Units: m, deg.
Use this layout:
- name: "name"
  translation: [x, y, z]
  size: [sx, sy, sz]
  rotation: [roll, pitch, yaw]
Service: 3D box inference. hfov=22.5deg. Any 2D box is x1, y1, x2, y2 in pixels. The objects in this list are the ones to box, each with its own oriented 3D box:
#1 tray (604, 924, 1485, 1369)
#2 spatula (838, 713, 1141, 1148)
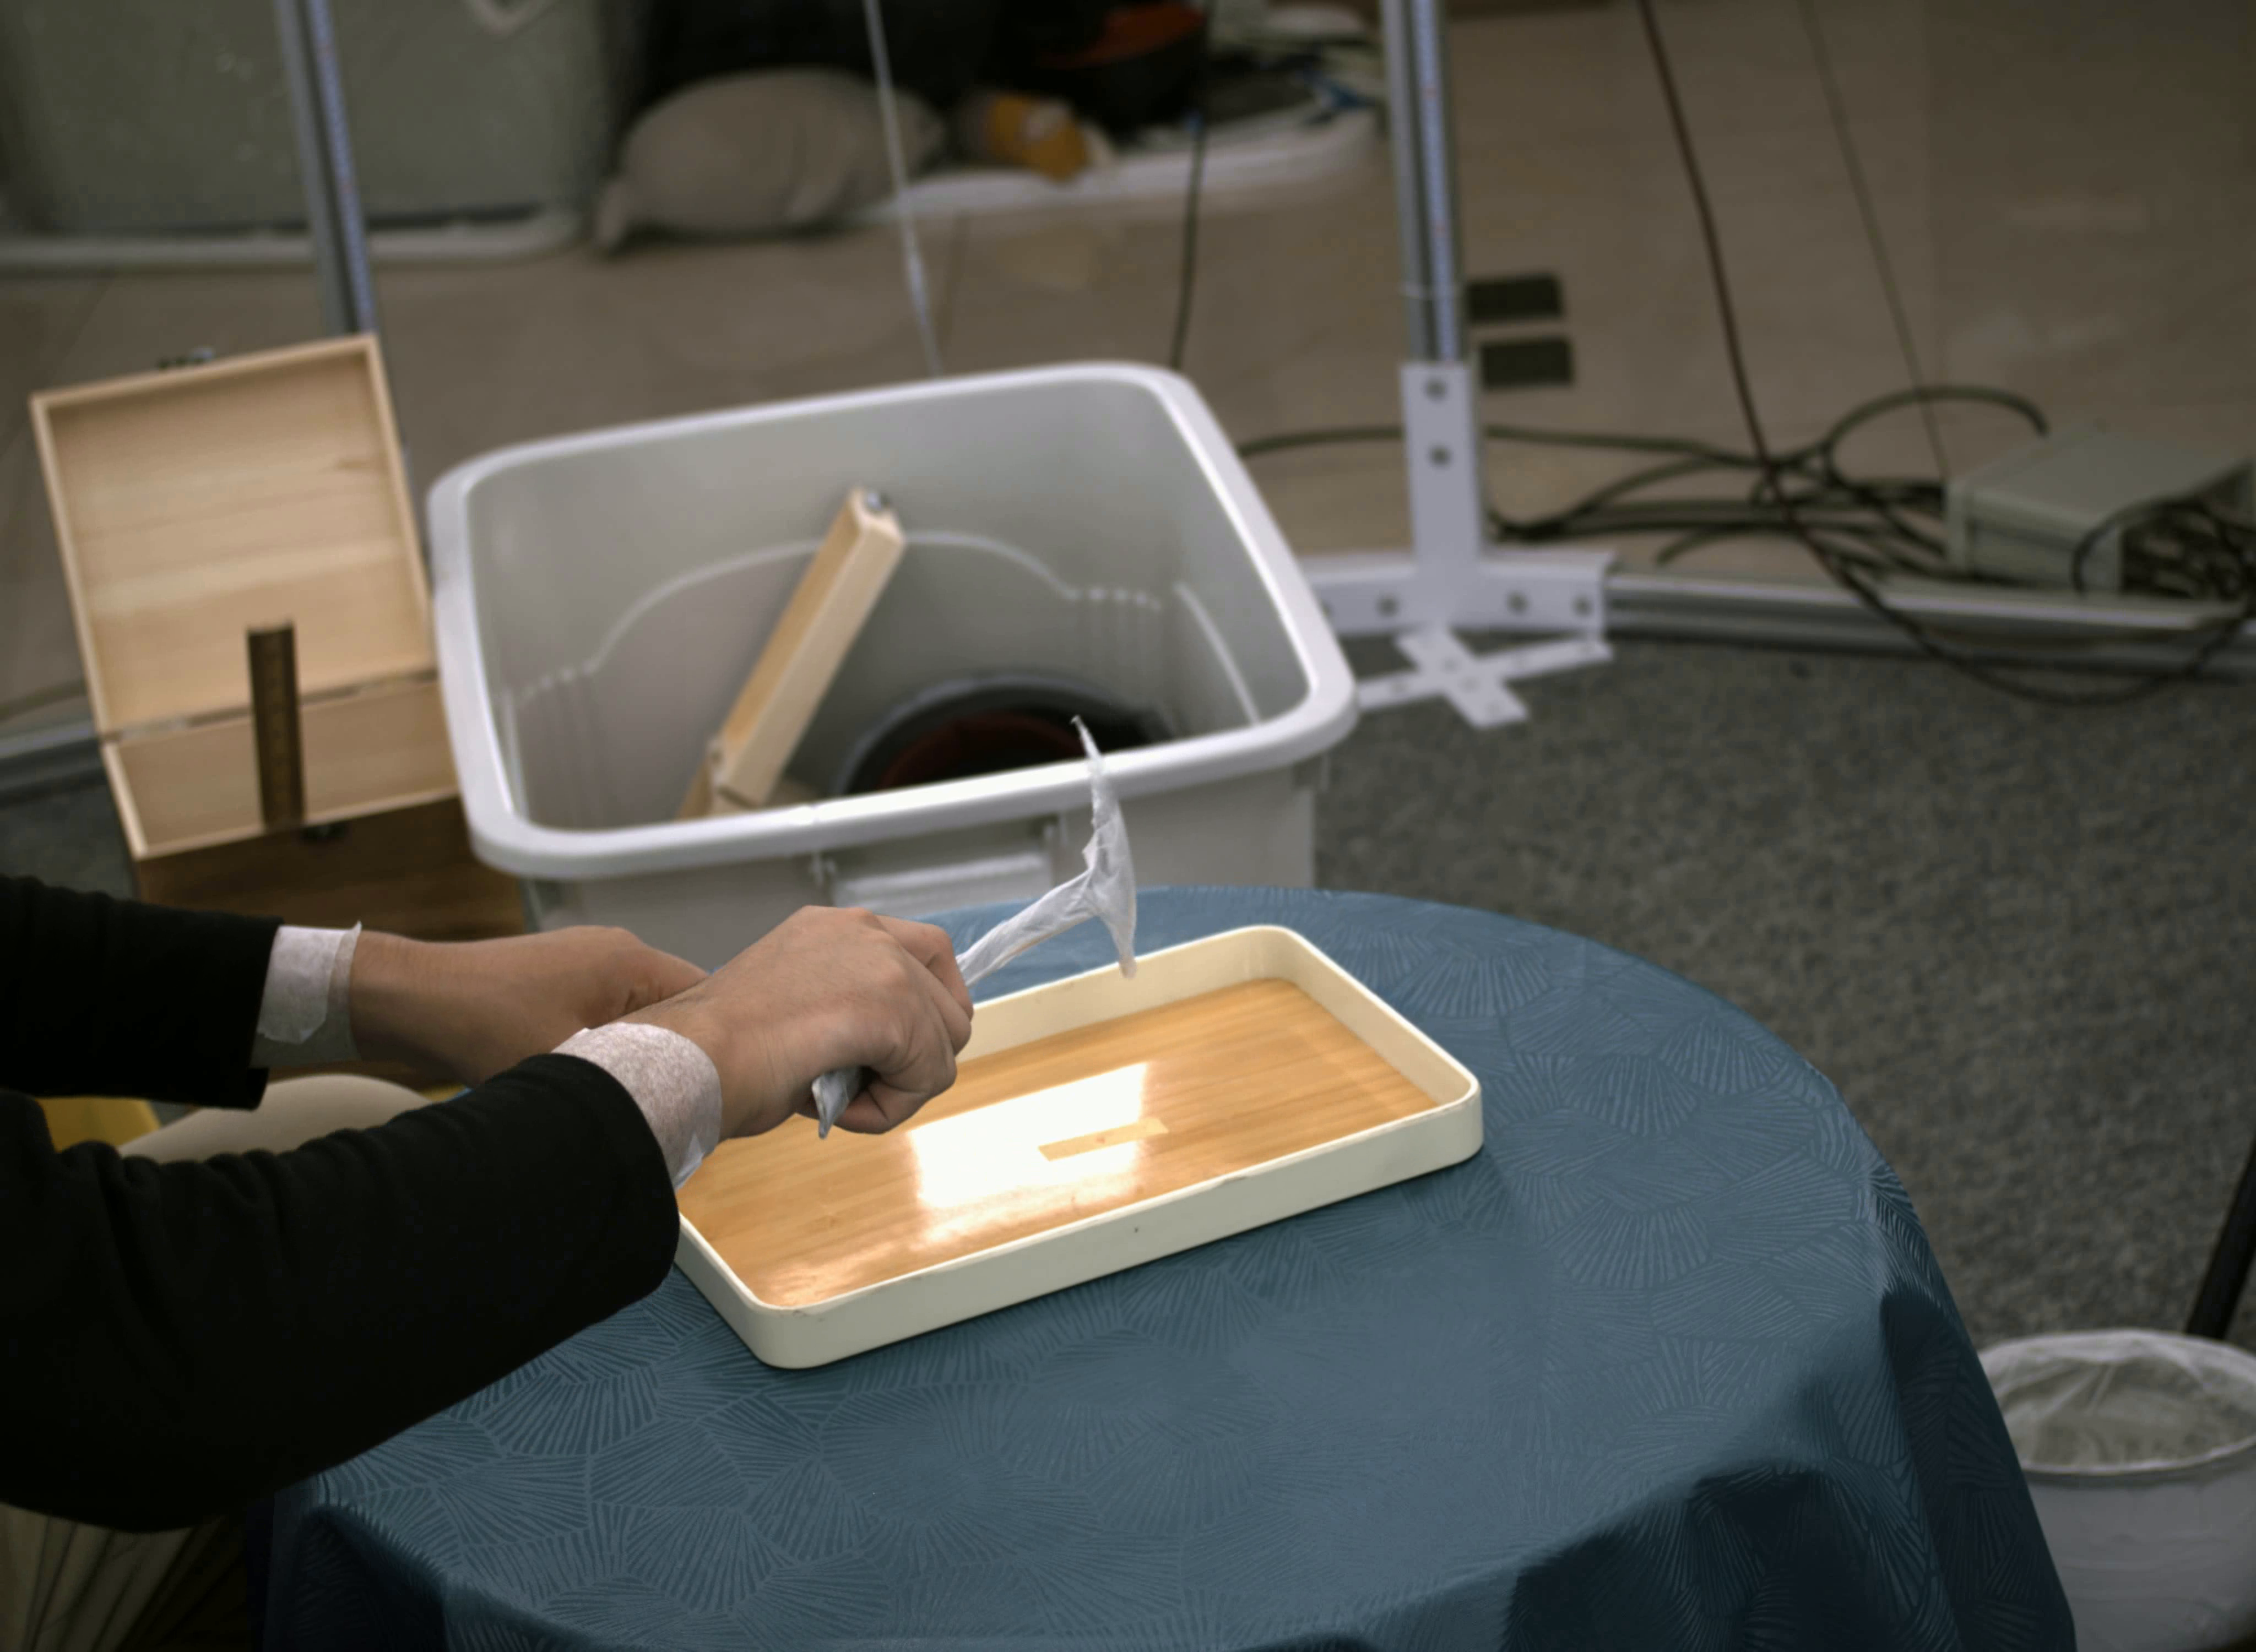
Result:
- name: "tray"
  translation: [-0.033, 0.119, 2.168]
  size: [0.299, 0.028, 0.189]
  rotation: [-16, 27, -19]
- name: "spatula"
  translation: [-0.052, 0.047, 2.029]
  size: [0.044, 0.100, 0.361]
  rotation: [-2, 15, 22]
